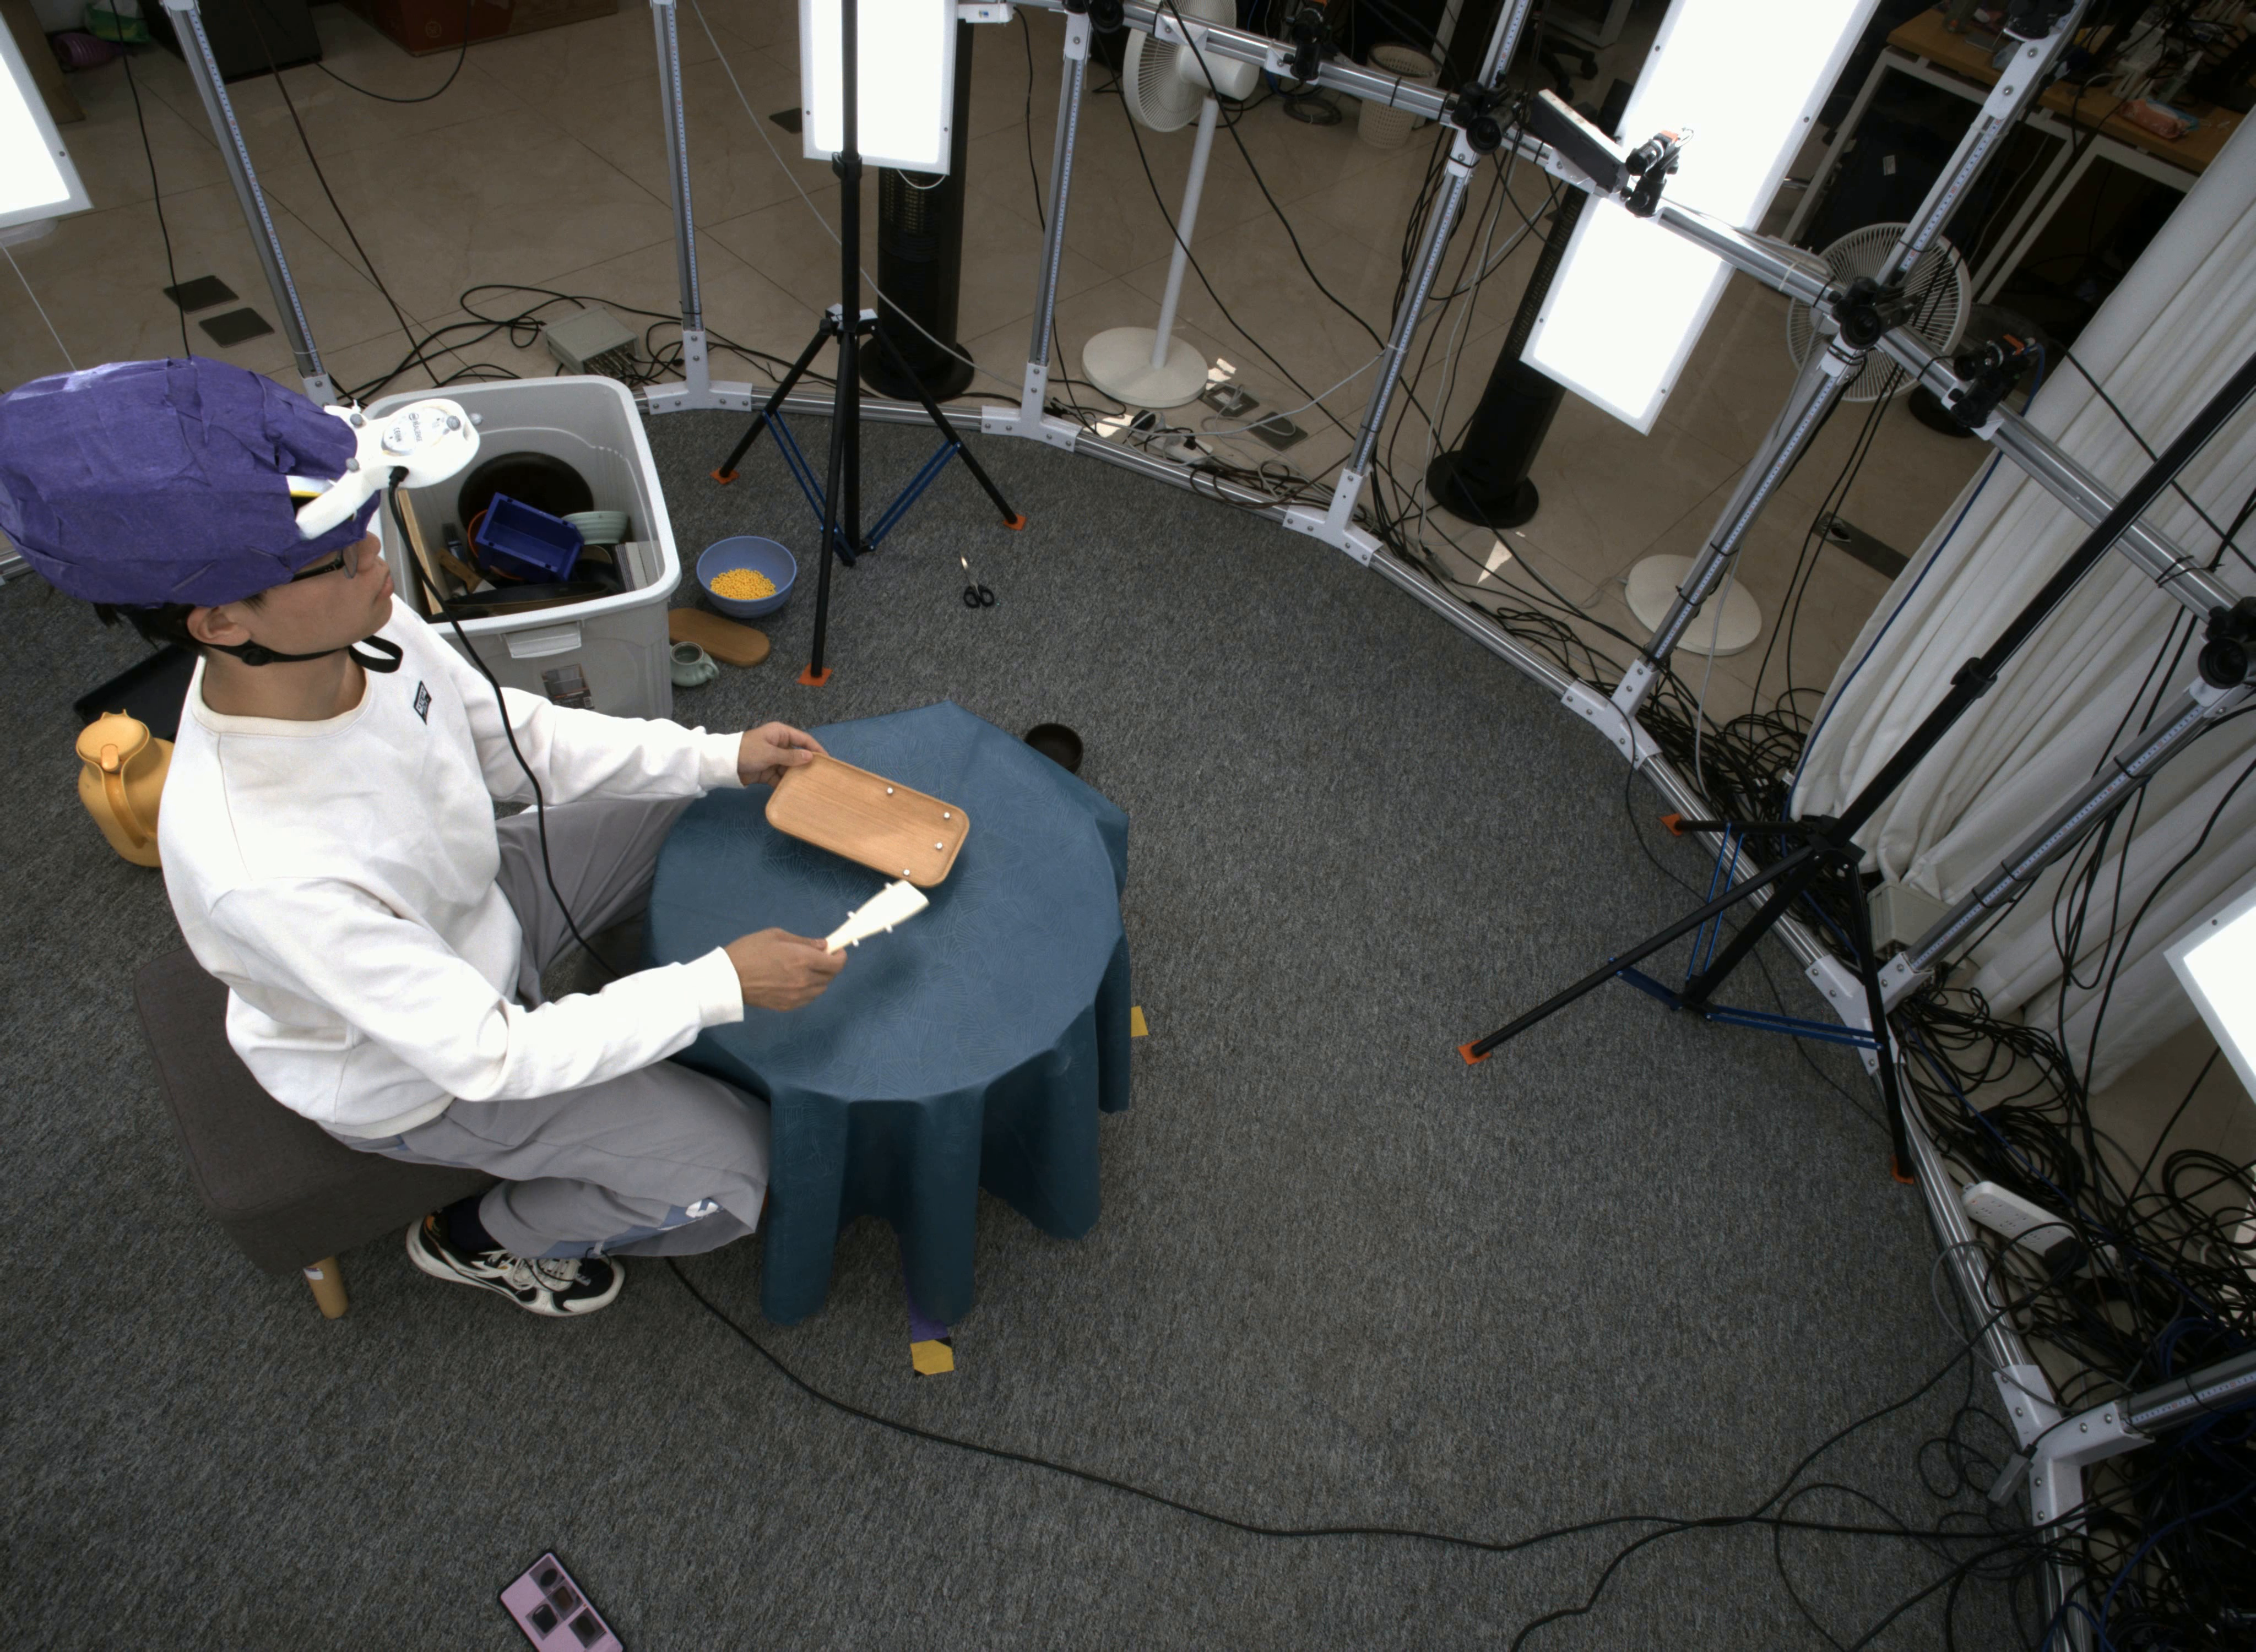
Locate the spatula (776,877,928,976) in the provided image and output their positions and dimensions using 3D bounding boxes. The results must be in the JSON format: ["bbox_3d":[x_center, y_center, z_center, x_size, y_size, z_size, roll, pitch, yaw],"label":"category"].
[{"bbox_3d":[-0.332,0.120,1.548,0.049,0.005,0.208,34,49,28],"label":"spatula"}]

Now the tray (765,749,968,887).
[{"bbox_3d":[-0.339,-0.011,1.695,0.249,0.023,0.129,22,57,-1],"label":"tray"}]
